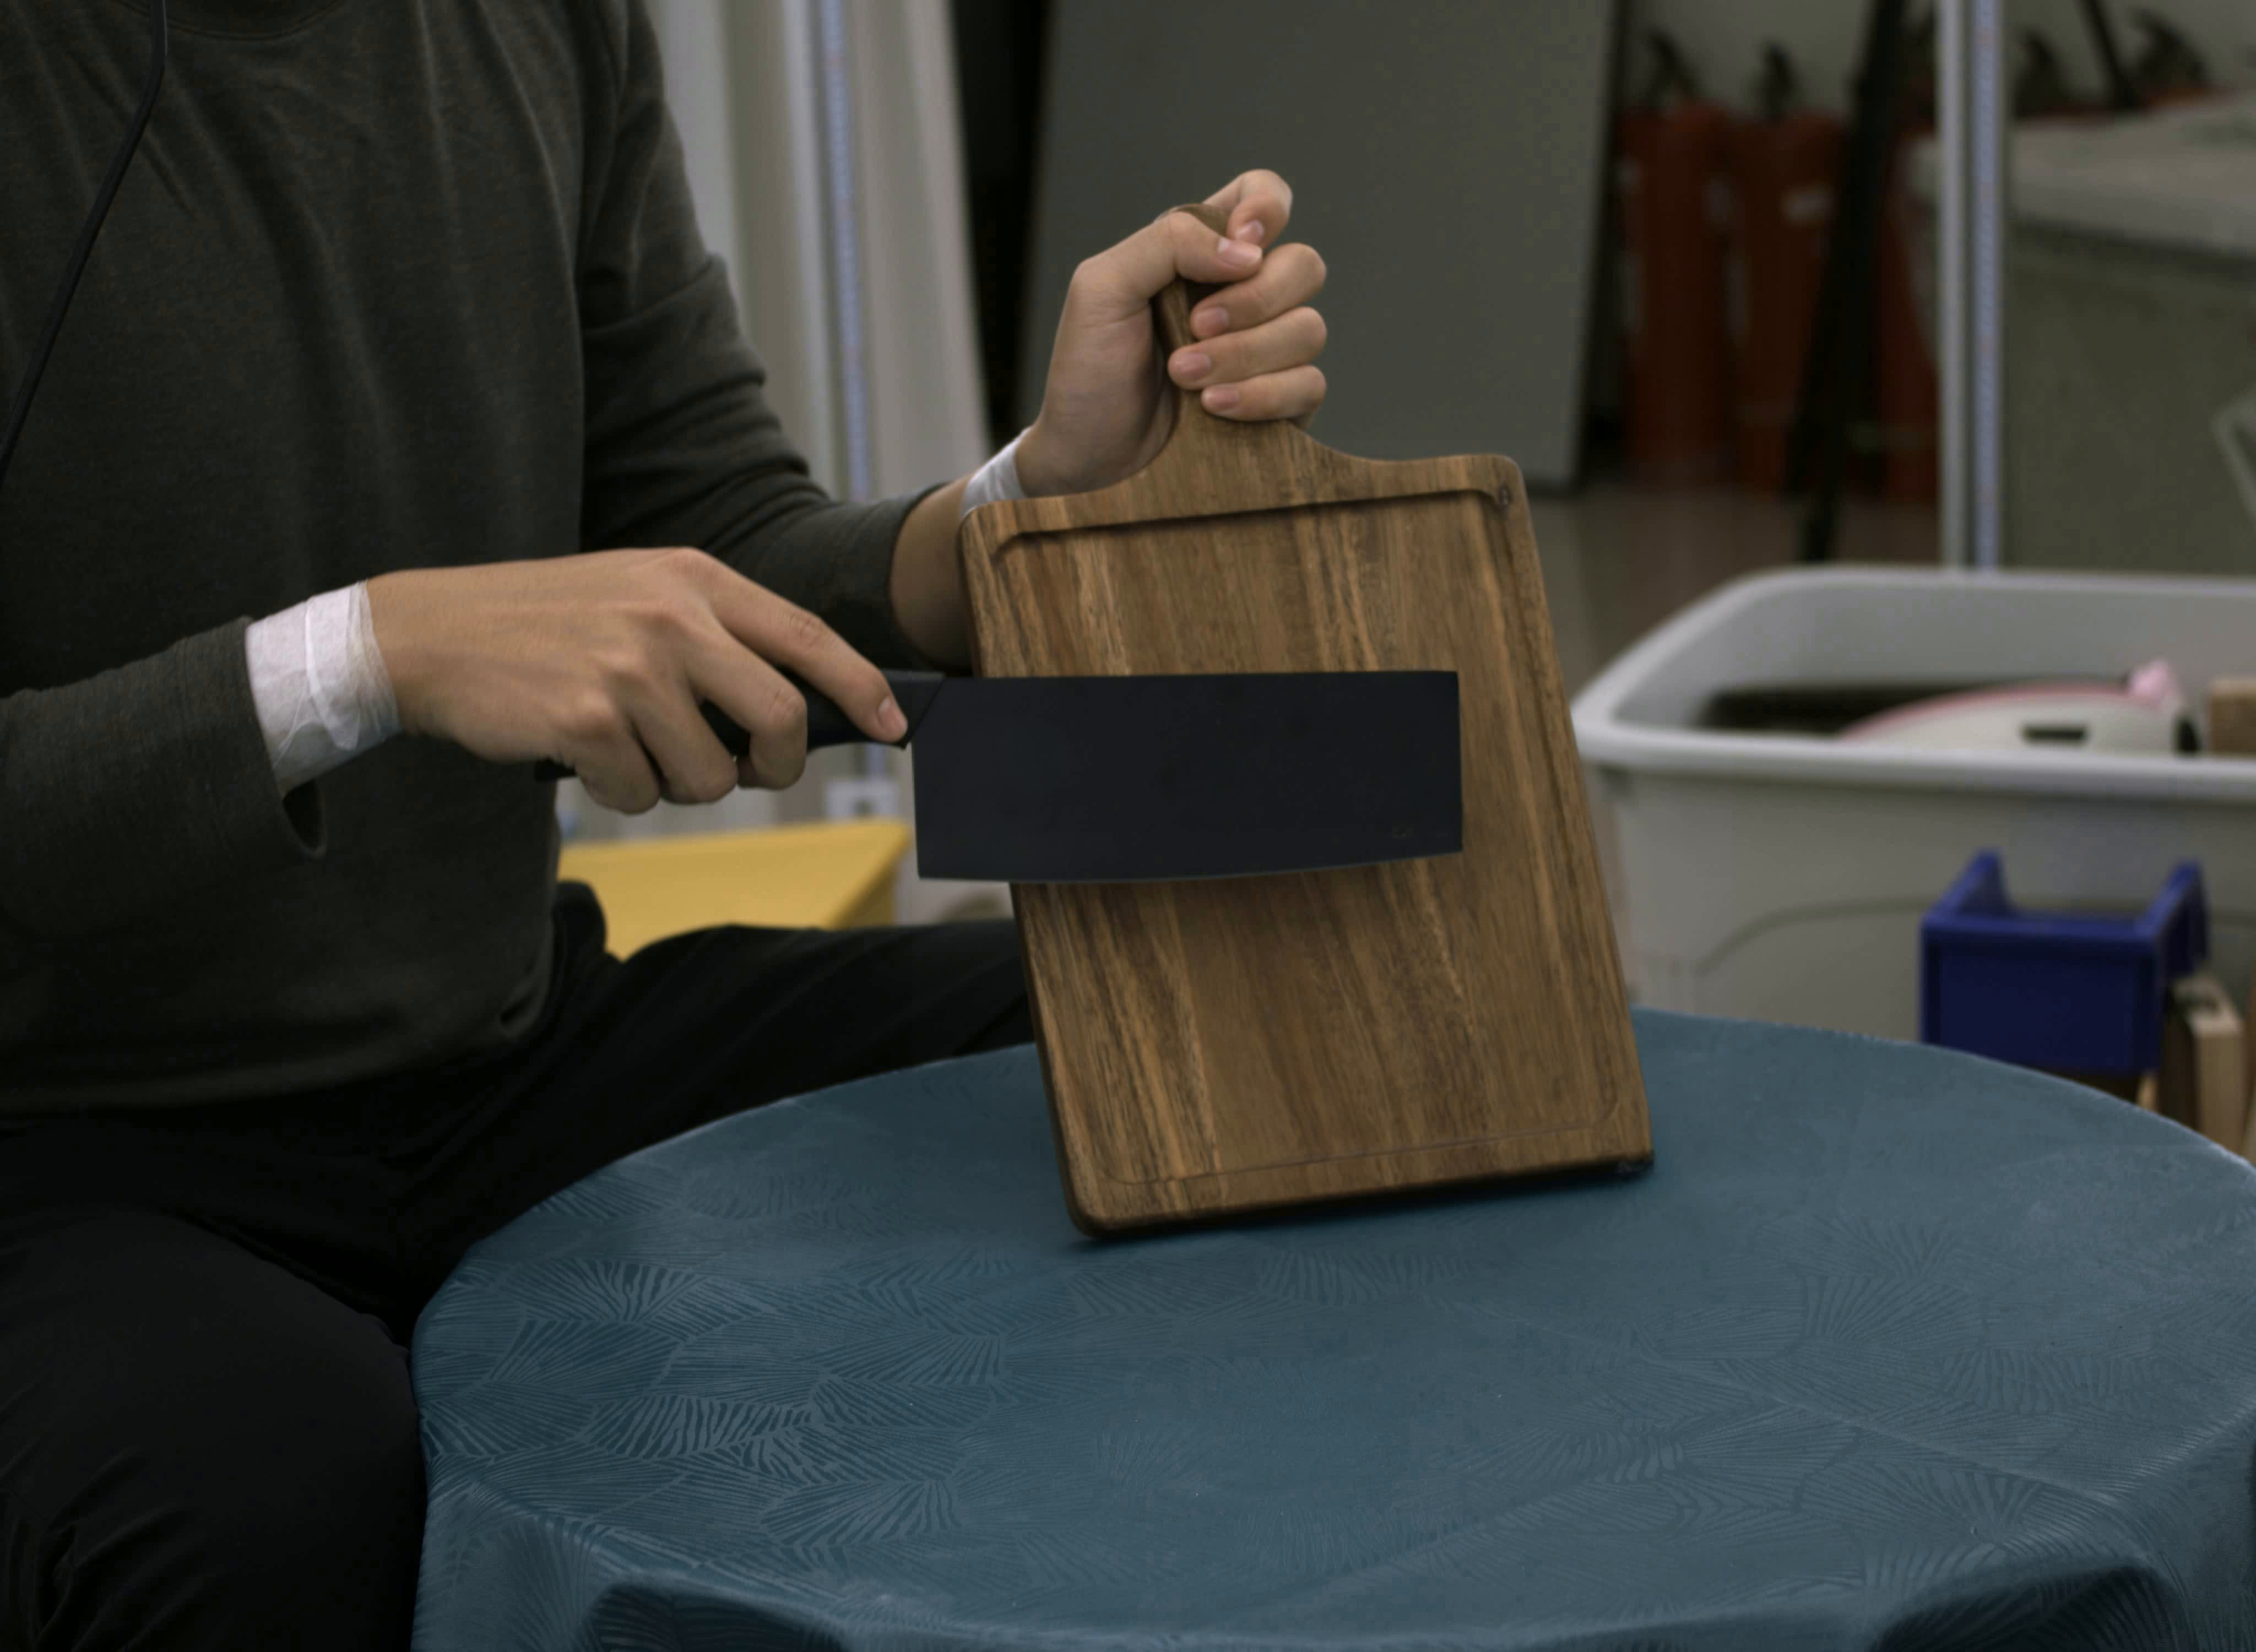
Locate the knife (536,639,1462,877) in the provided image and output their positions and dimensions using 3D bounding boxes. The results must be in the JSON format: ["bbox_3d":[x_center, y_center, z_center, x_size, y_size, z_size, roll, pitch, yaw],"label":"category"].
[{"bbox_3d":[-0.038,-0.023,1.724,0.297,0.082,0.021,3,-6,-7],"label":"knife"}]

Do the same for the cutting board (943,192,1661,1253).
[{"bbox_3d":[0.048,-0.044,1.786,0.197,0.357,0.023,-8,-17,-11],"label":"cutting board"}]
